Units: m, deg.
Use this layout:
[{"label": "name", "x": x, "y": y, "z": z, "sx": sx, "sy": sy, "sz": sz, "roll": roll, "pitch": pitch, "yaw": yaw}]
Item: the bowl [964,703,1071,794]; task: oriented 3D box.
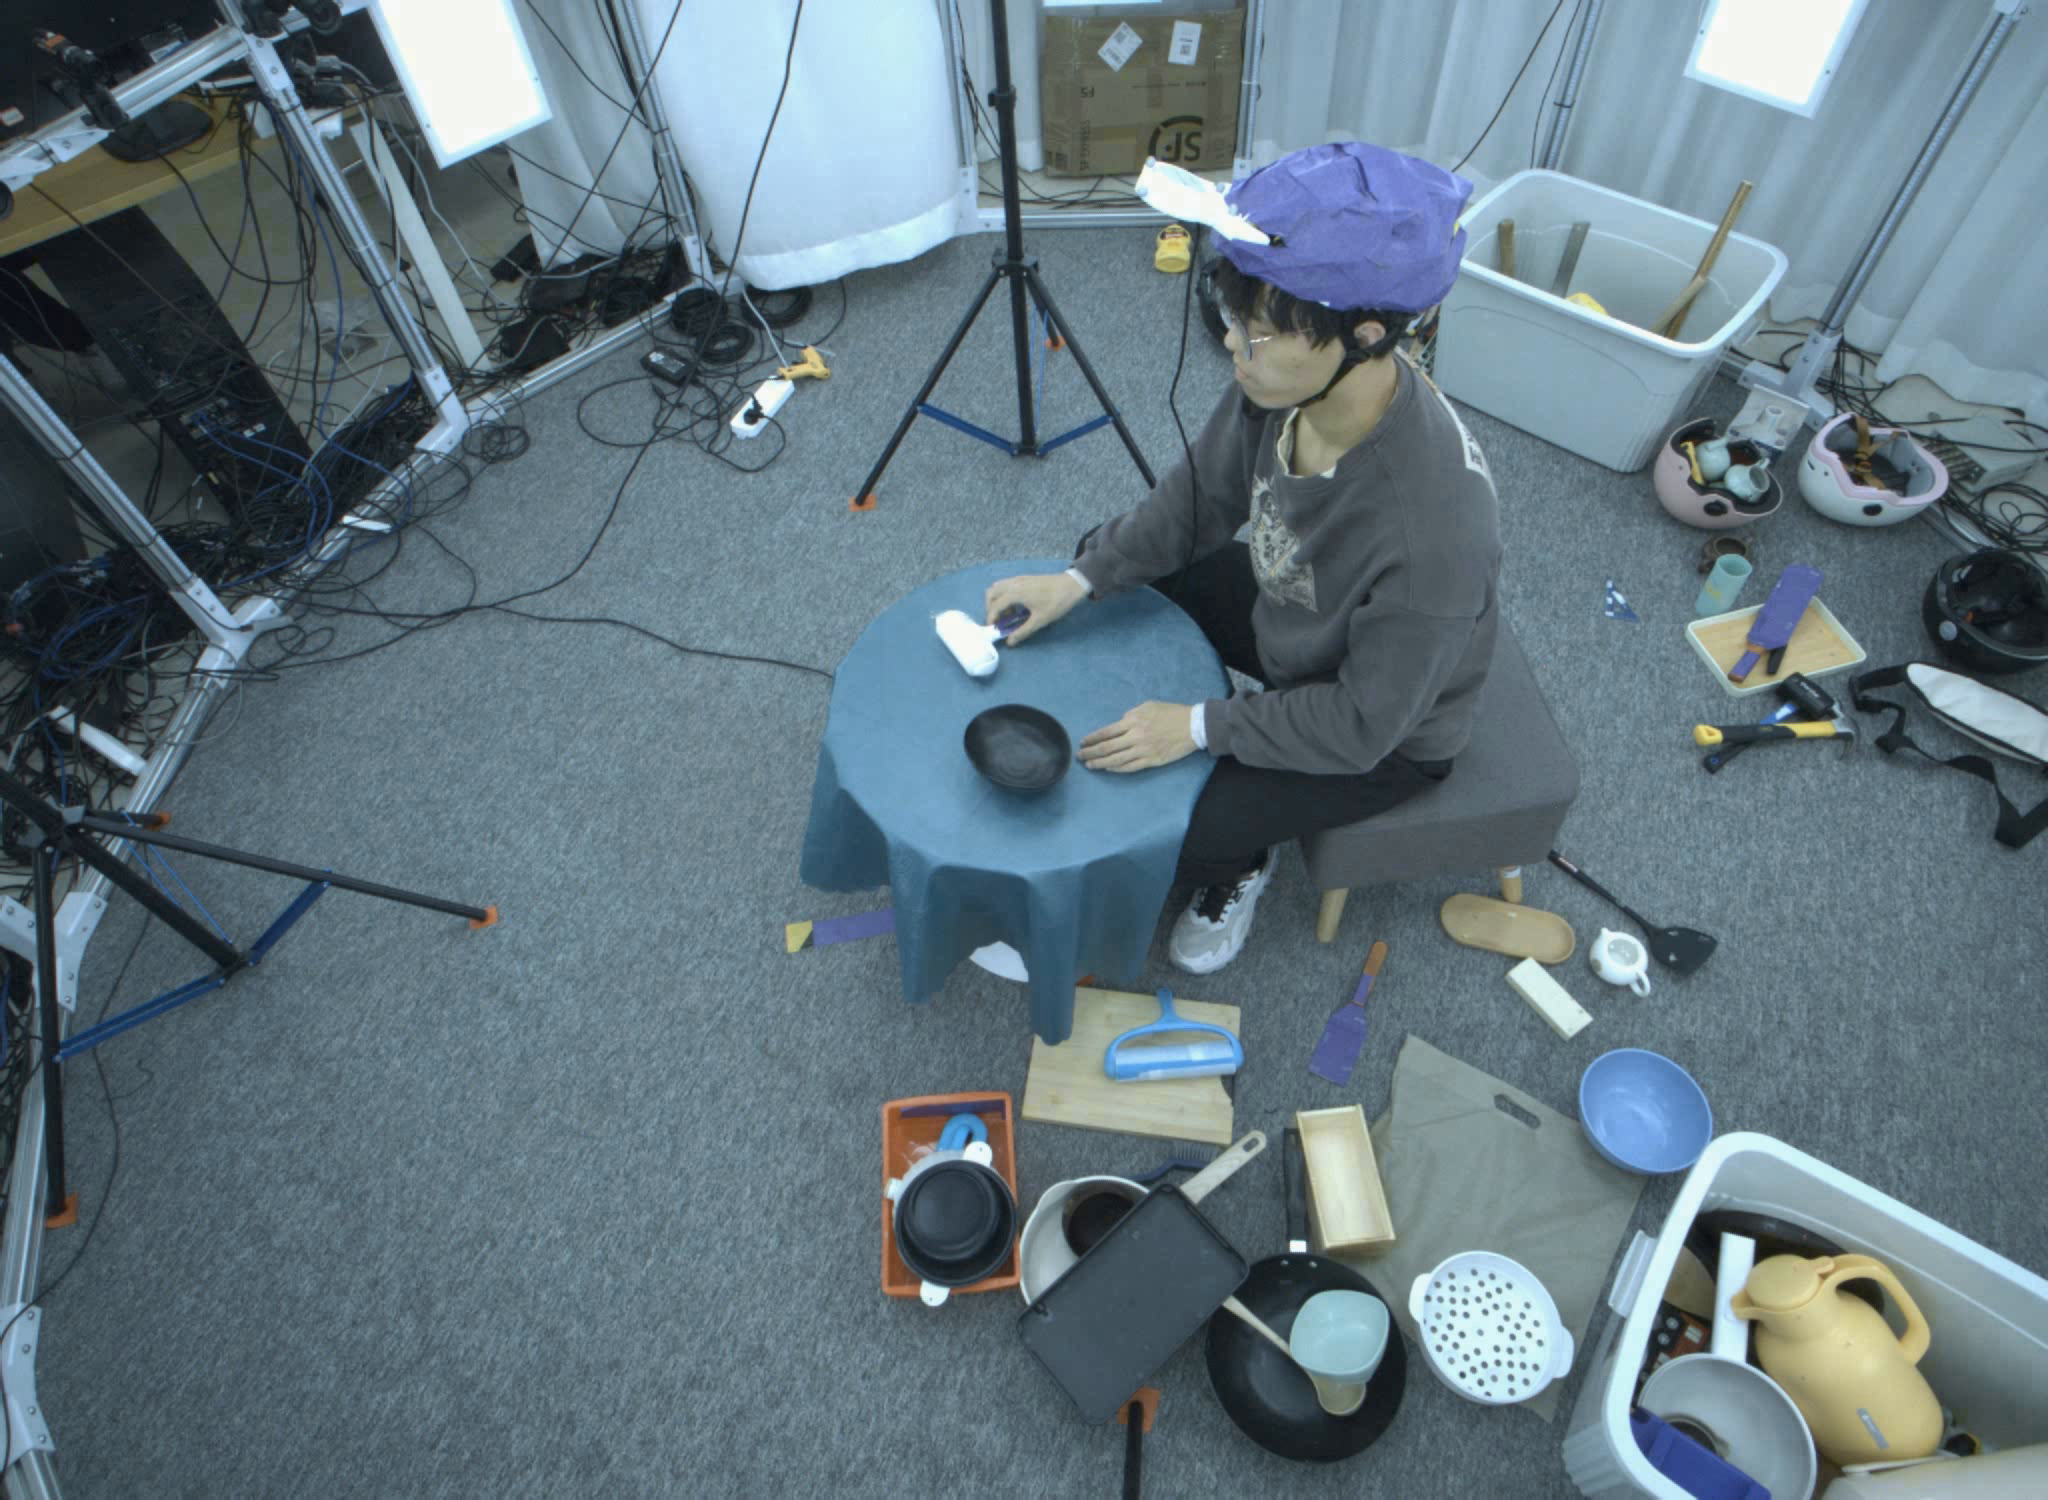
[{"label": "bowl", "x": -0.009, "y": 0.008, "z": 1.740, "sx": 0.167, "sy": 0.067, "sz": 0.138, "roll": 36, "pitch": 62, "yaw": 26}]

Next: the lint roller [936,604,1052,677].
[{"label": "lint roller", "x": -0.035, "y": -0.191, "z": 1.894, "sx": 0.182, "sy": 0.051, "sz": 0.130, "roll": -28, "pitch": 57, "yaw": -13}]
